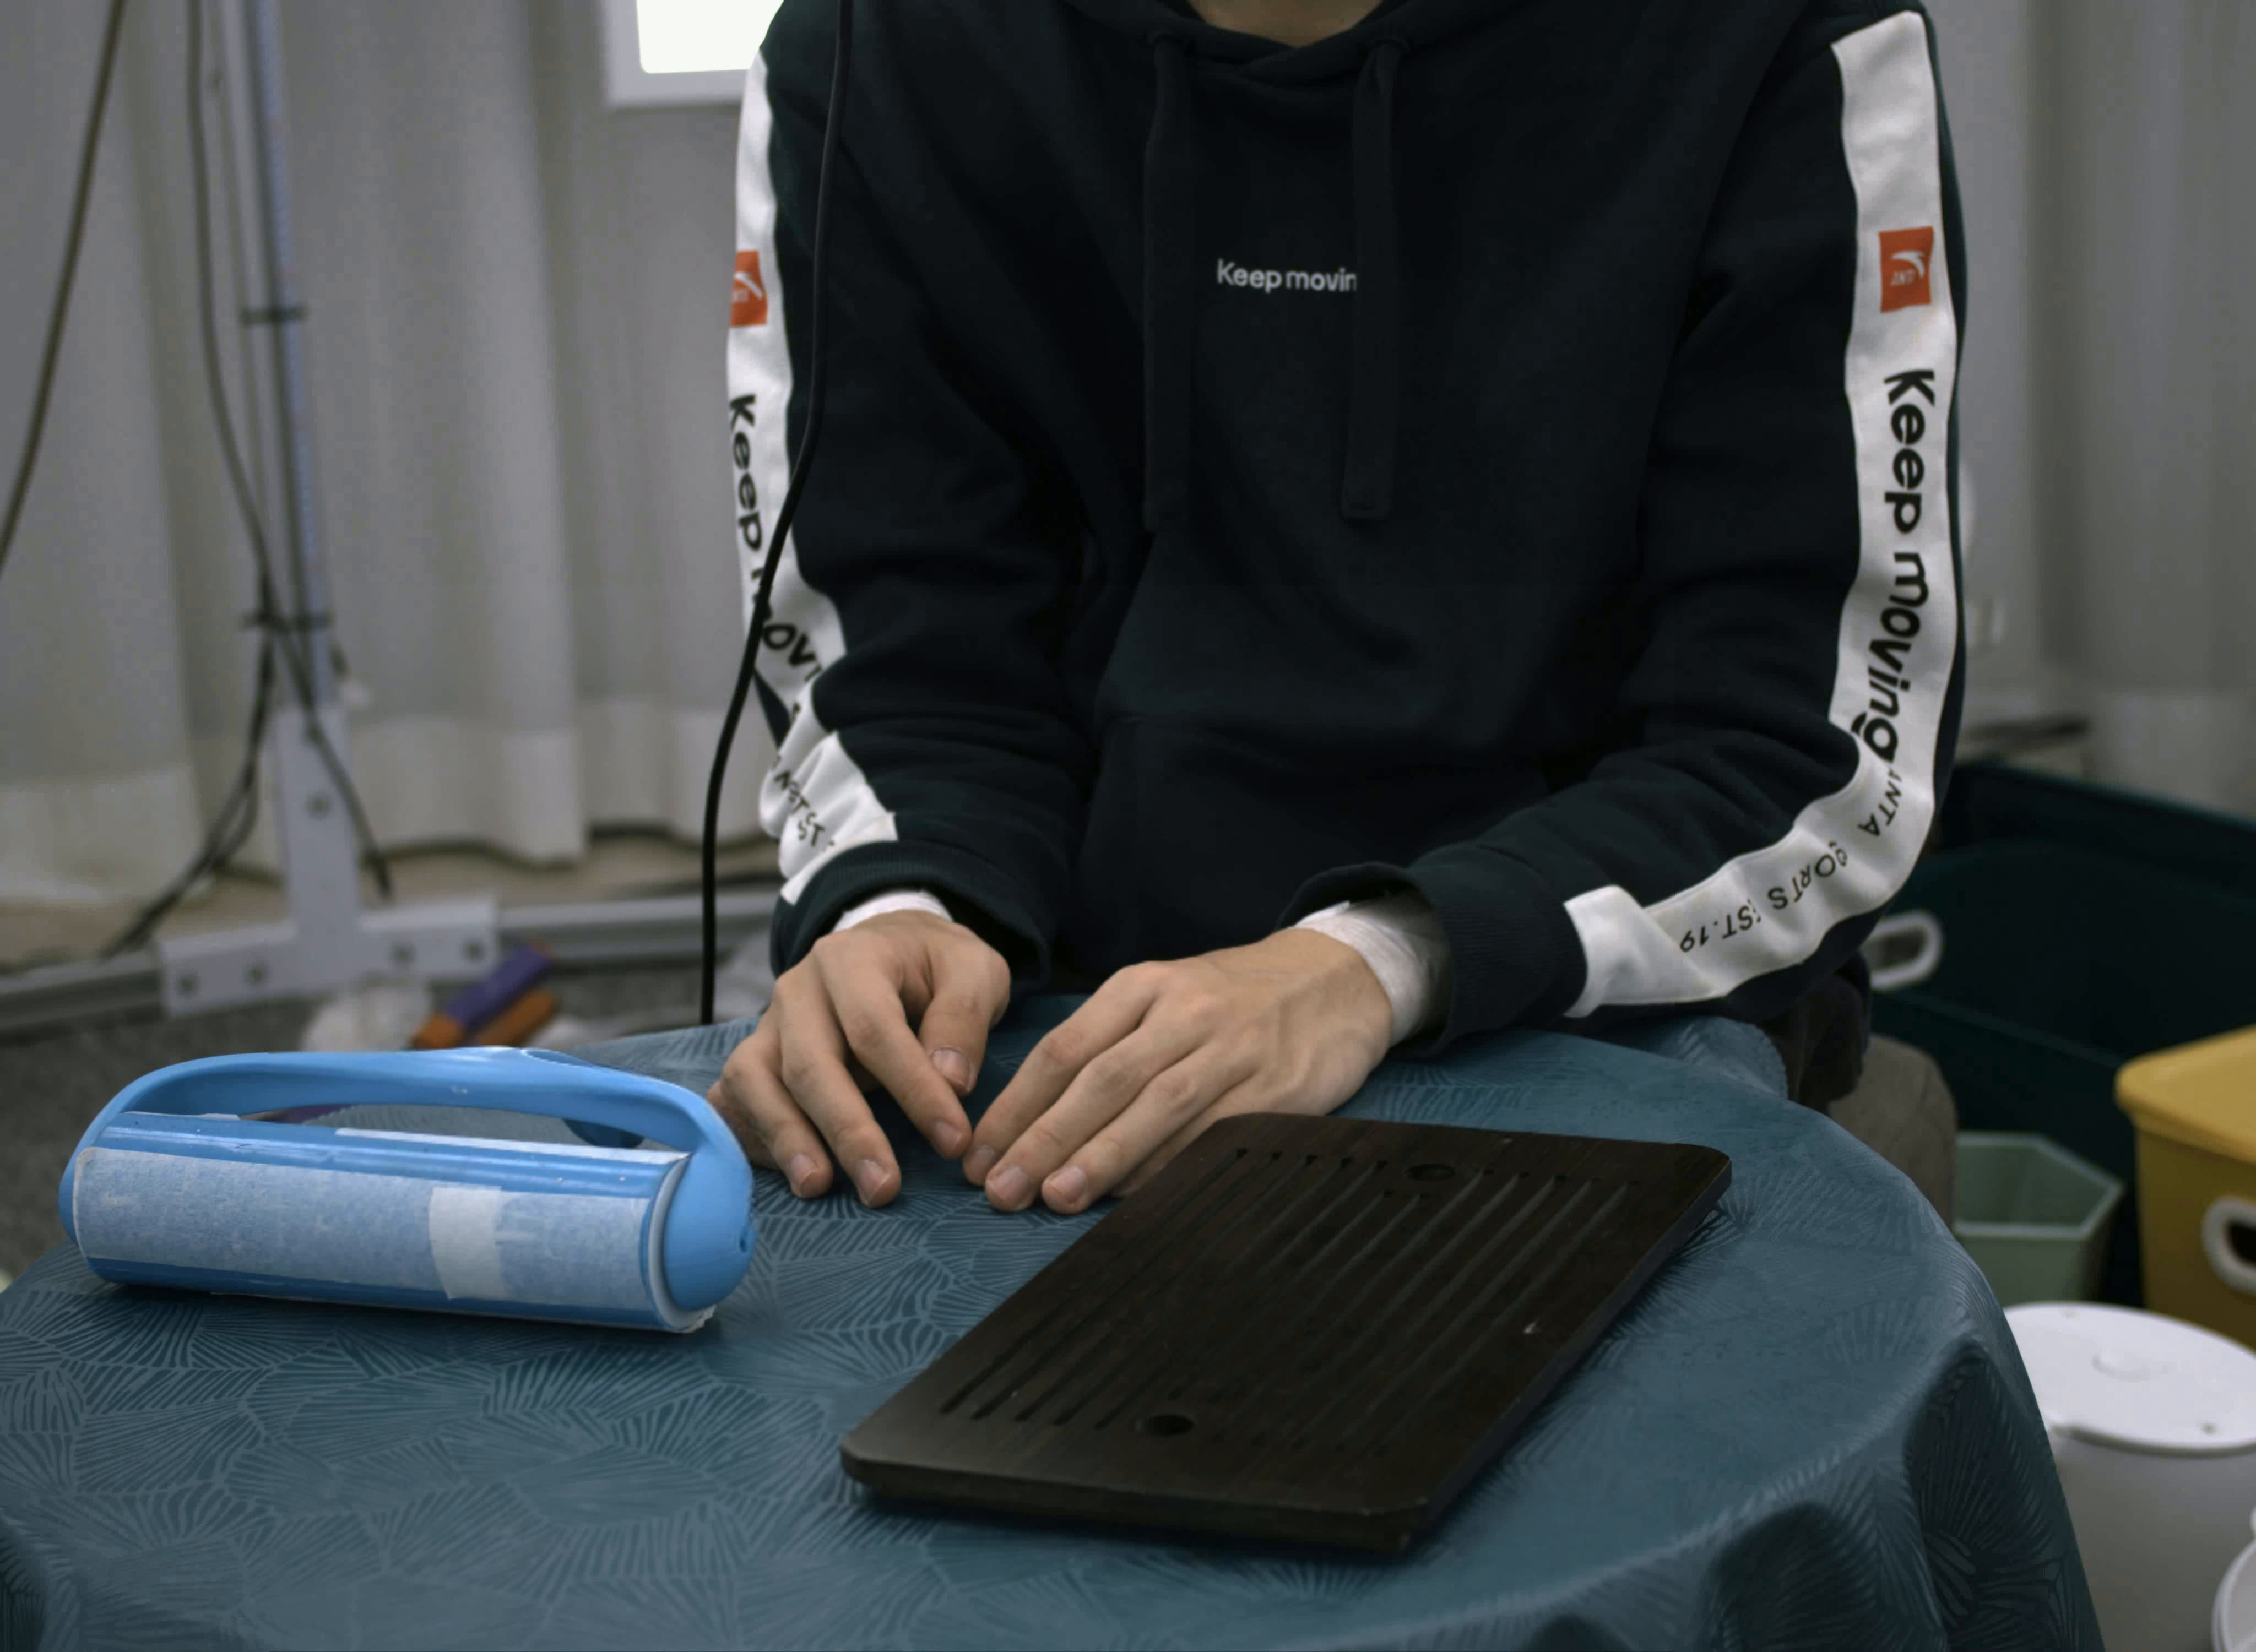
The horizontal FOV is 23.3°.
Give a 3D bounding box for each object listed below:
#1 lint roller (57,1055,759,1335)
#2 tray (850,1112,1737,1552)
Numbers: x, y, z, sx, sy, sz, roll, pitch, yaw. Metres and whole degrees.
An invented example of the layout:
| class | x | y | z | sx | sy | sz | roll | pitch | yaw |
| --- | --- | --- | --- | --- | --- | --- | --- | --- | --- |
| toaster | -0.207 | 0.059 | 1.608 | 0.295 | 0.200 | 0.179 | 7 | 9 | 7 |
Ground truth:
| class | x | y | z | sx | sy | sz | roll | pitch | yaw |
| --- | --- | --- | --- | --- | --- | --- | --- | --- | --- |
| lint roller | -0.200 | 0.101 | 1.693 | 0.229 | 0.067 | 0.181 | 0 | 17 | 19 |
| tray | 0.056 | 0.142 | 1.568 | 0.170 | 0.018 | 0.307 | 3 | 16 | 22 |
